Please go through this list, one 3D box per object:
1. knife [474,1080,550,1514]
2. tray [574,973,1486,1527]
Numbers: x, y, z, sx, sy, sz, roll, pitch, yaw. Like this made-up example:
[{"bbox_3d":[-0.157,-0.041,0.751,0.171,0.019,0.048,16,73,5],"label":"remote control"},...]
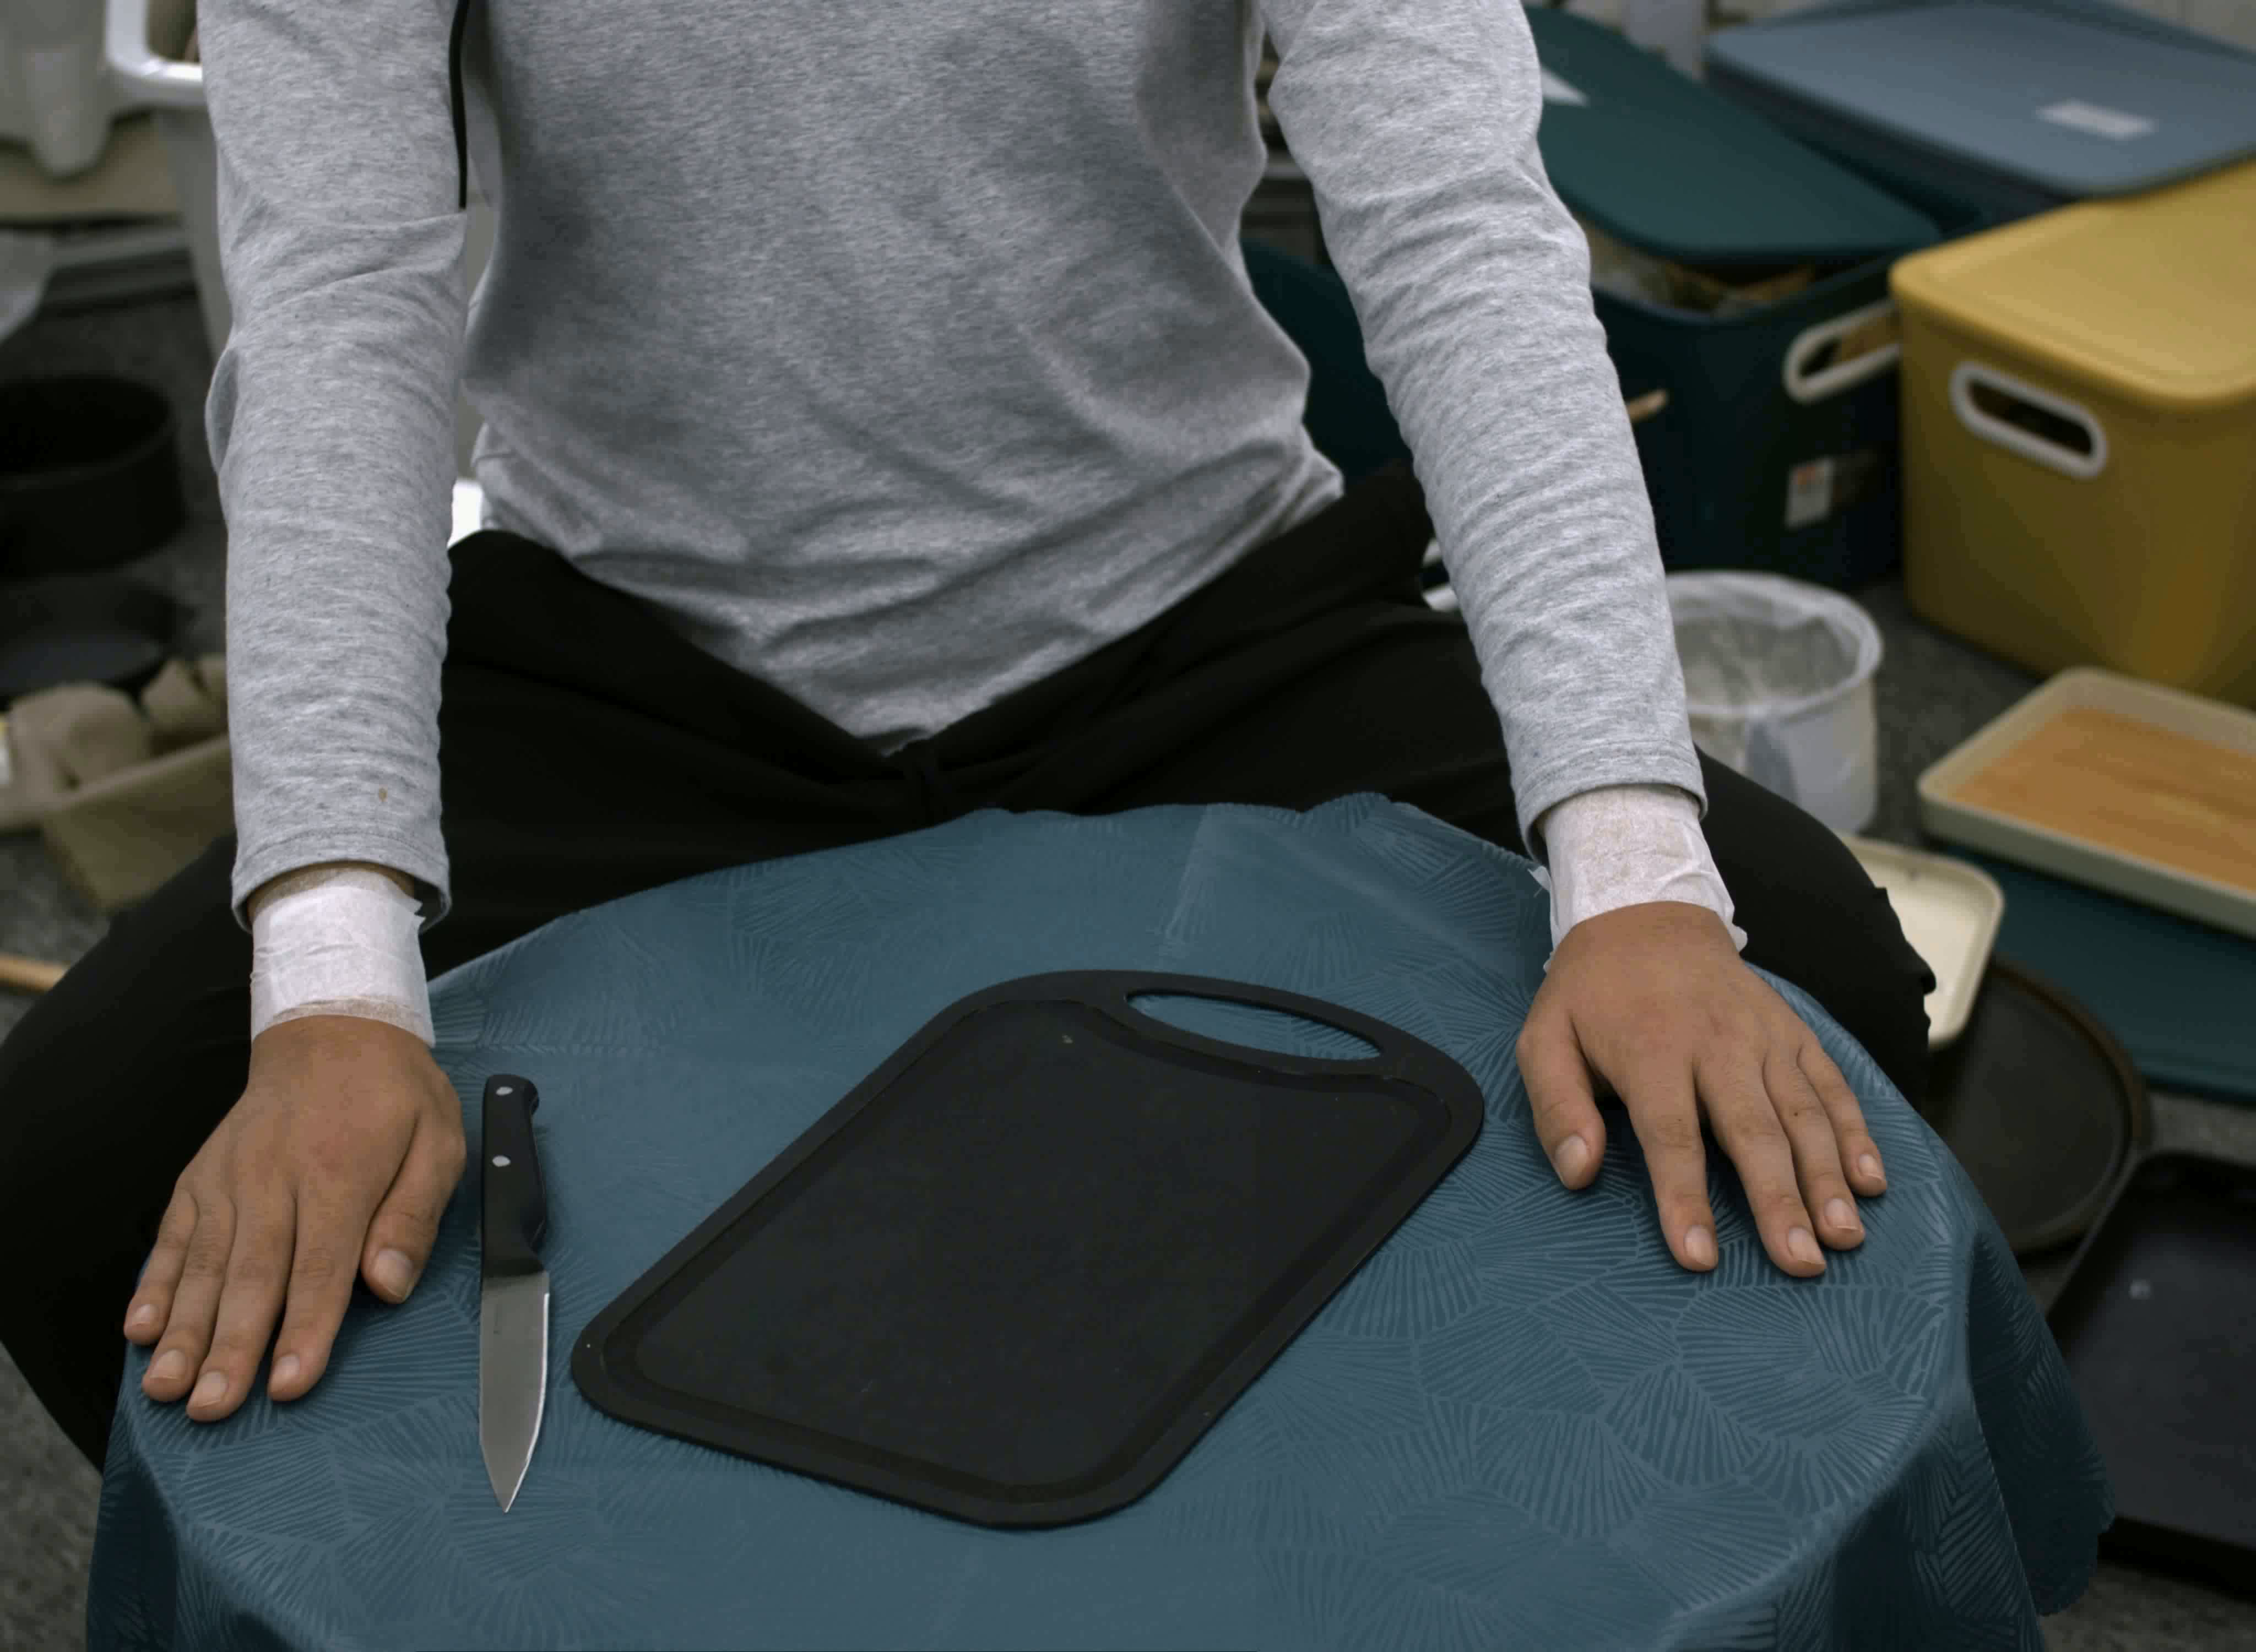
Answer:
[{"bbox_3d":[-0.200,0.151,1.811,0.024,0.016,0.241,-7,30,-3],"label":"knife"},{"bbox_3d":[-0.024,0.127,1.846,0.210,0.009,0.330,13,31,27],"label":"tray"}]
